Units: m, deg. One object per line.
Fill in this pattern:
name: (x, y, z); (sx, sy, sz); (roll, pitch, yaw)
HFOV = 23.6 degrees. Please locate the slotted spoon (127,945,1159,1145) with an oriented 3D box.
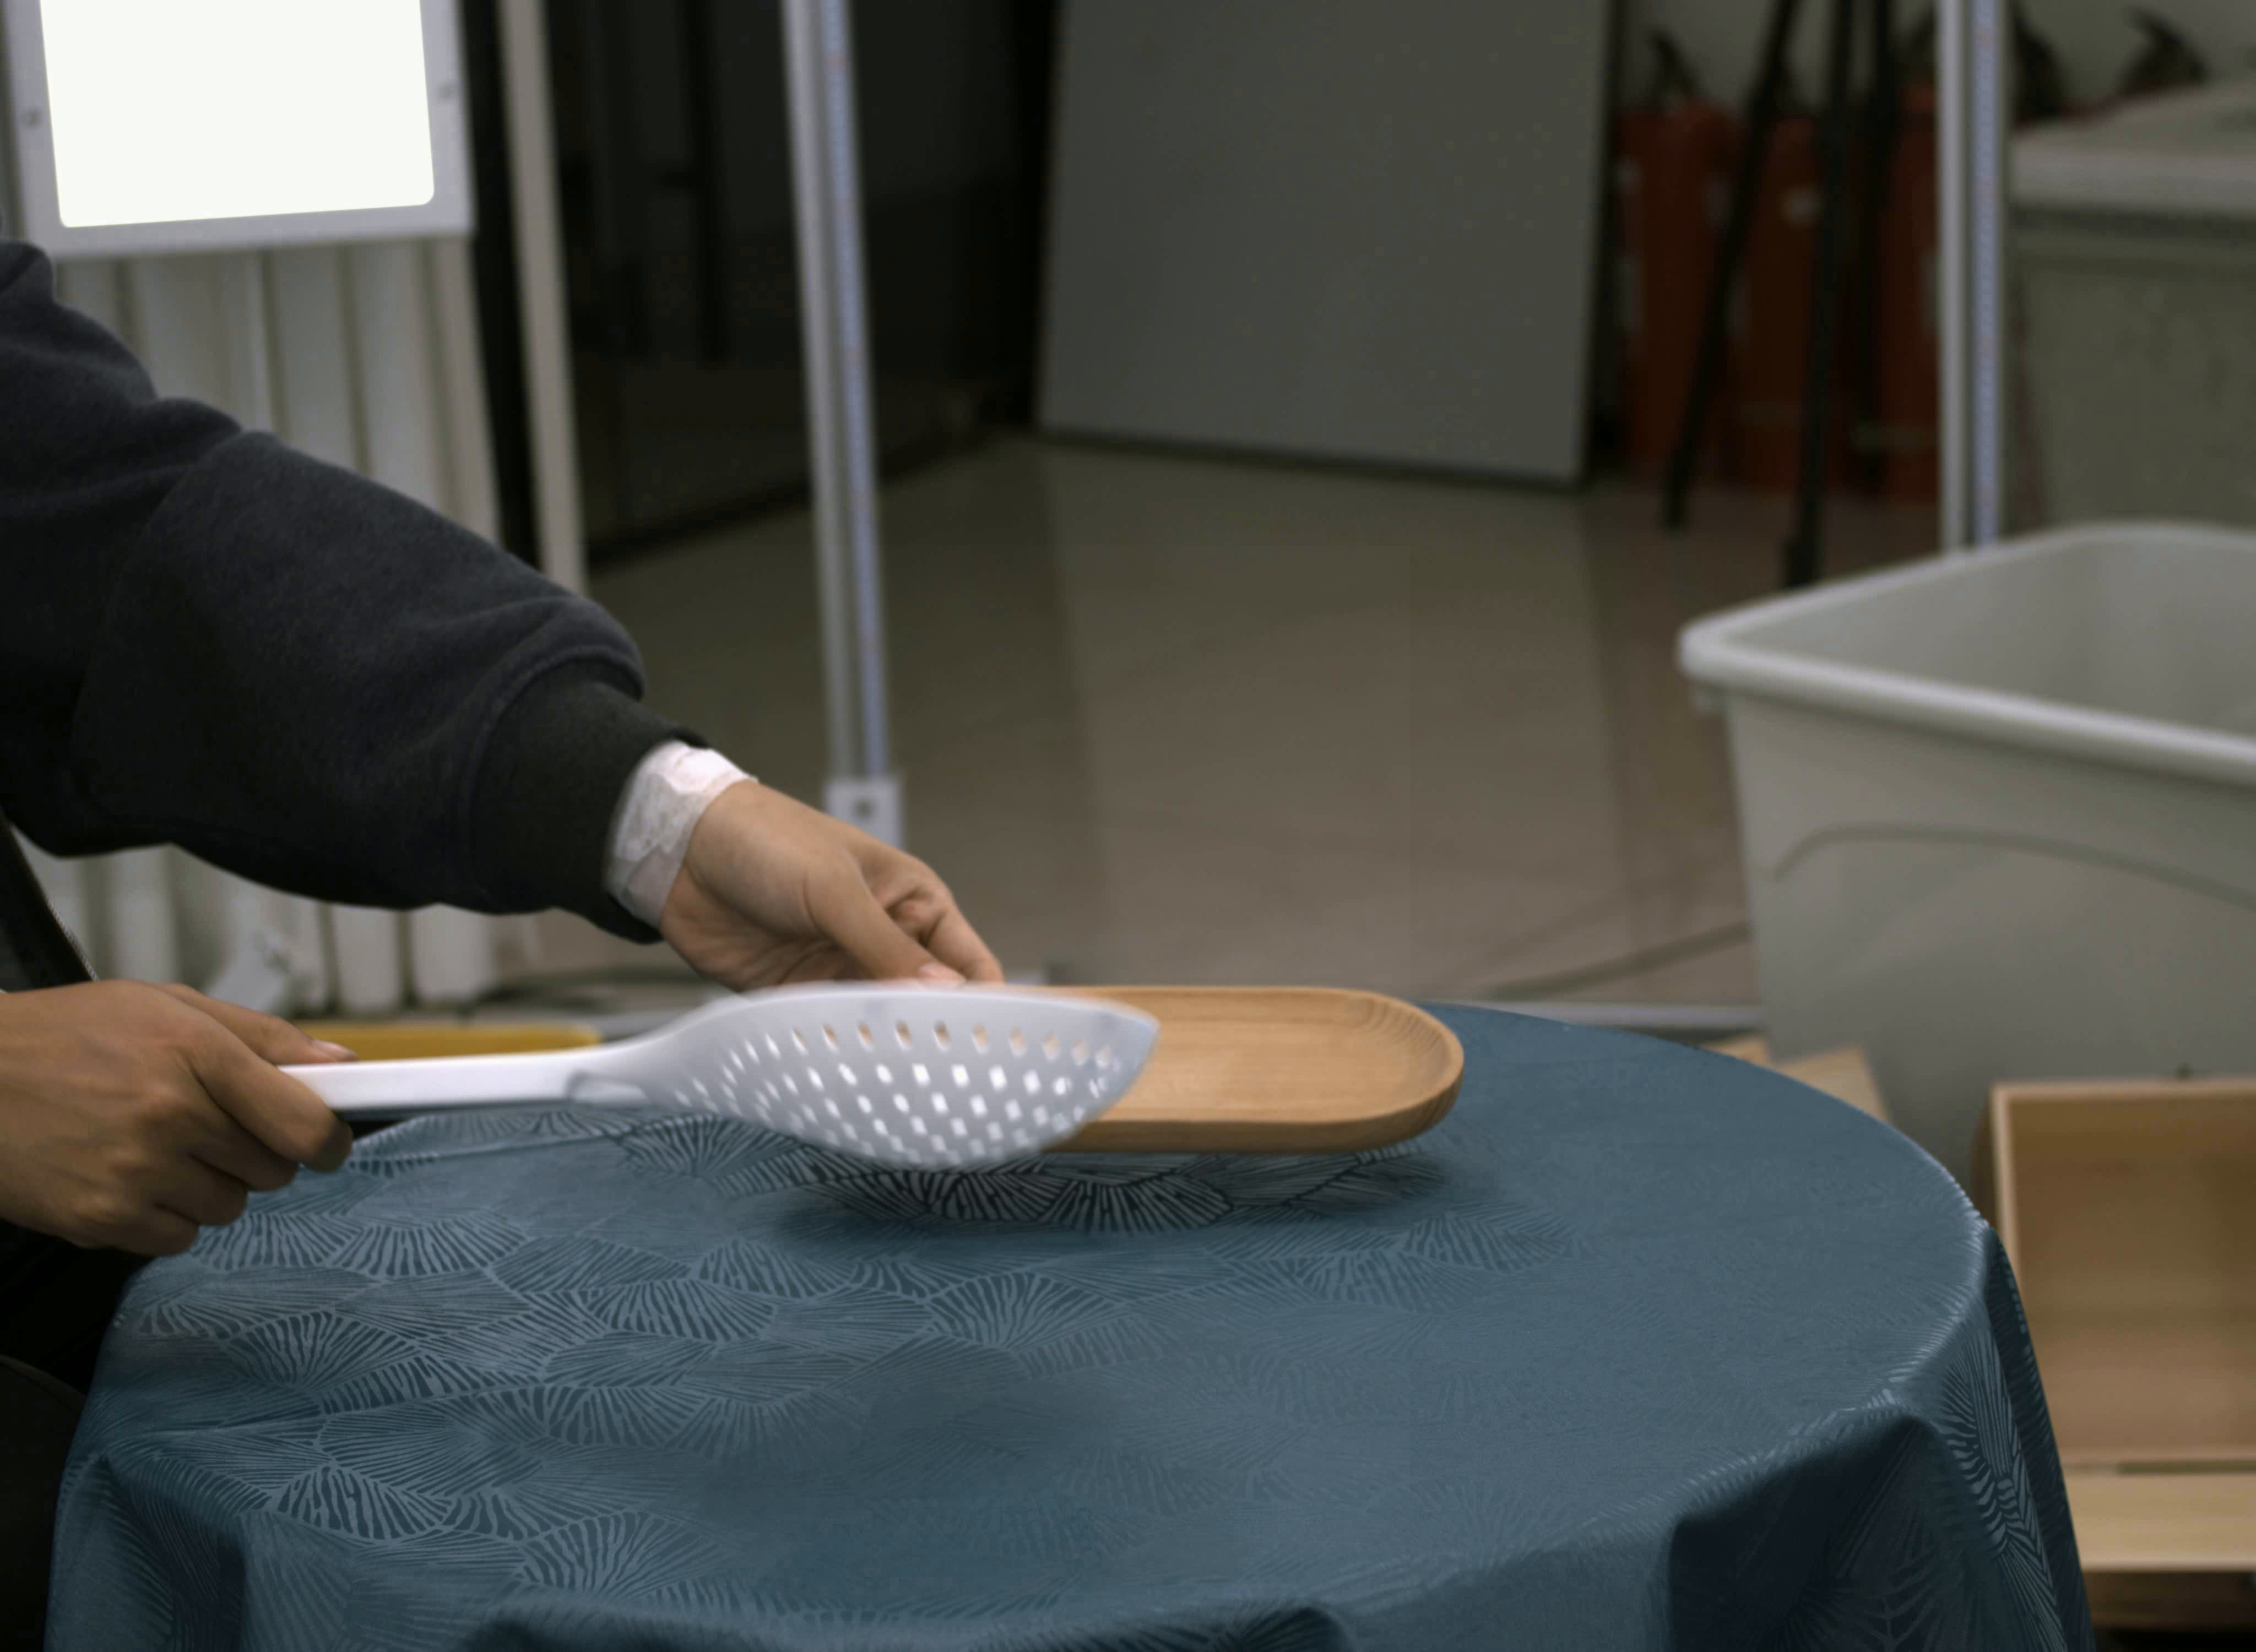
slotted spoon: (-0.152, 0.069, 1.606); (0.351, 0.046, 0.134); (-1, -15, 29)

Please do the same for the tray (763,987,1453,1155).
tray: (-0.008, 0.081, 1.767); (0.228, 0.020, 0.102); (-1, 22, 3)
